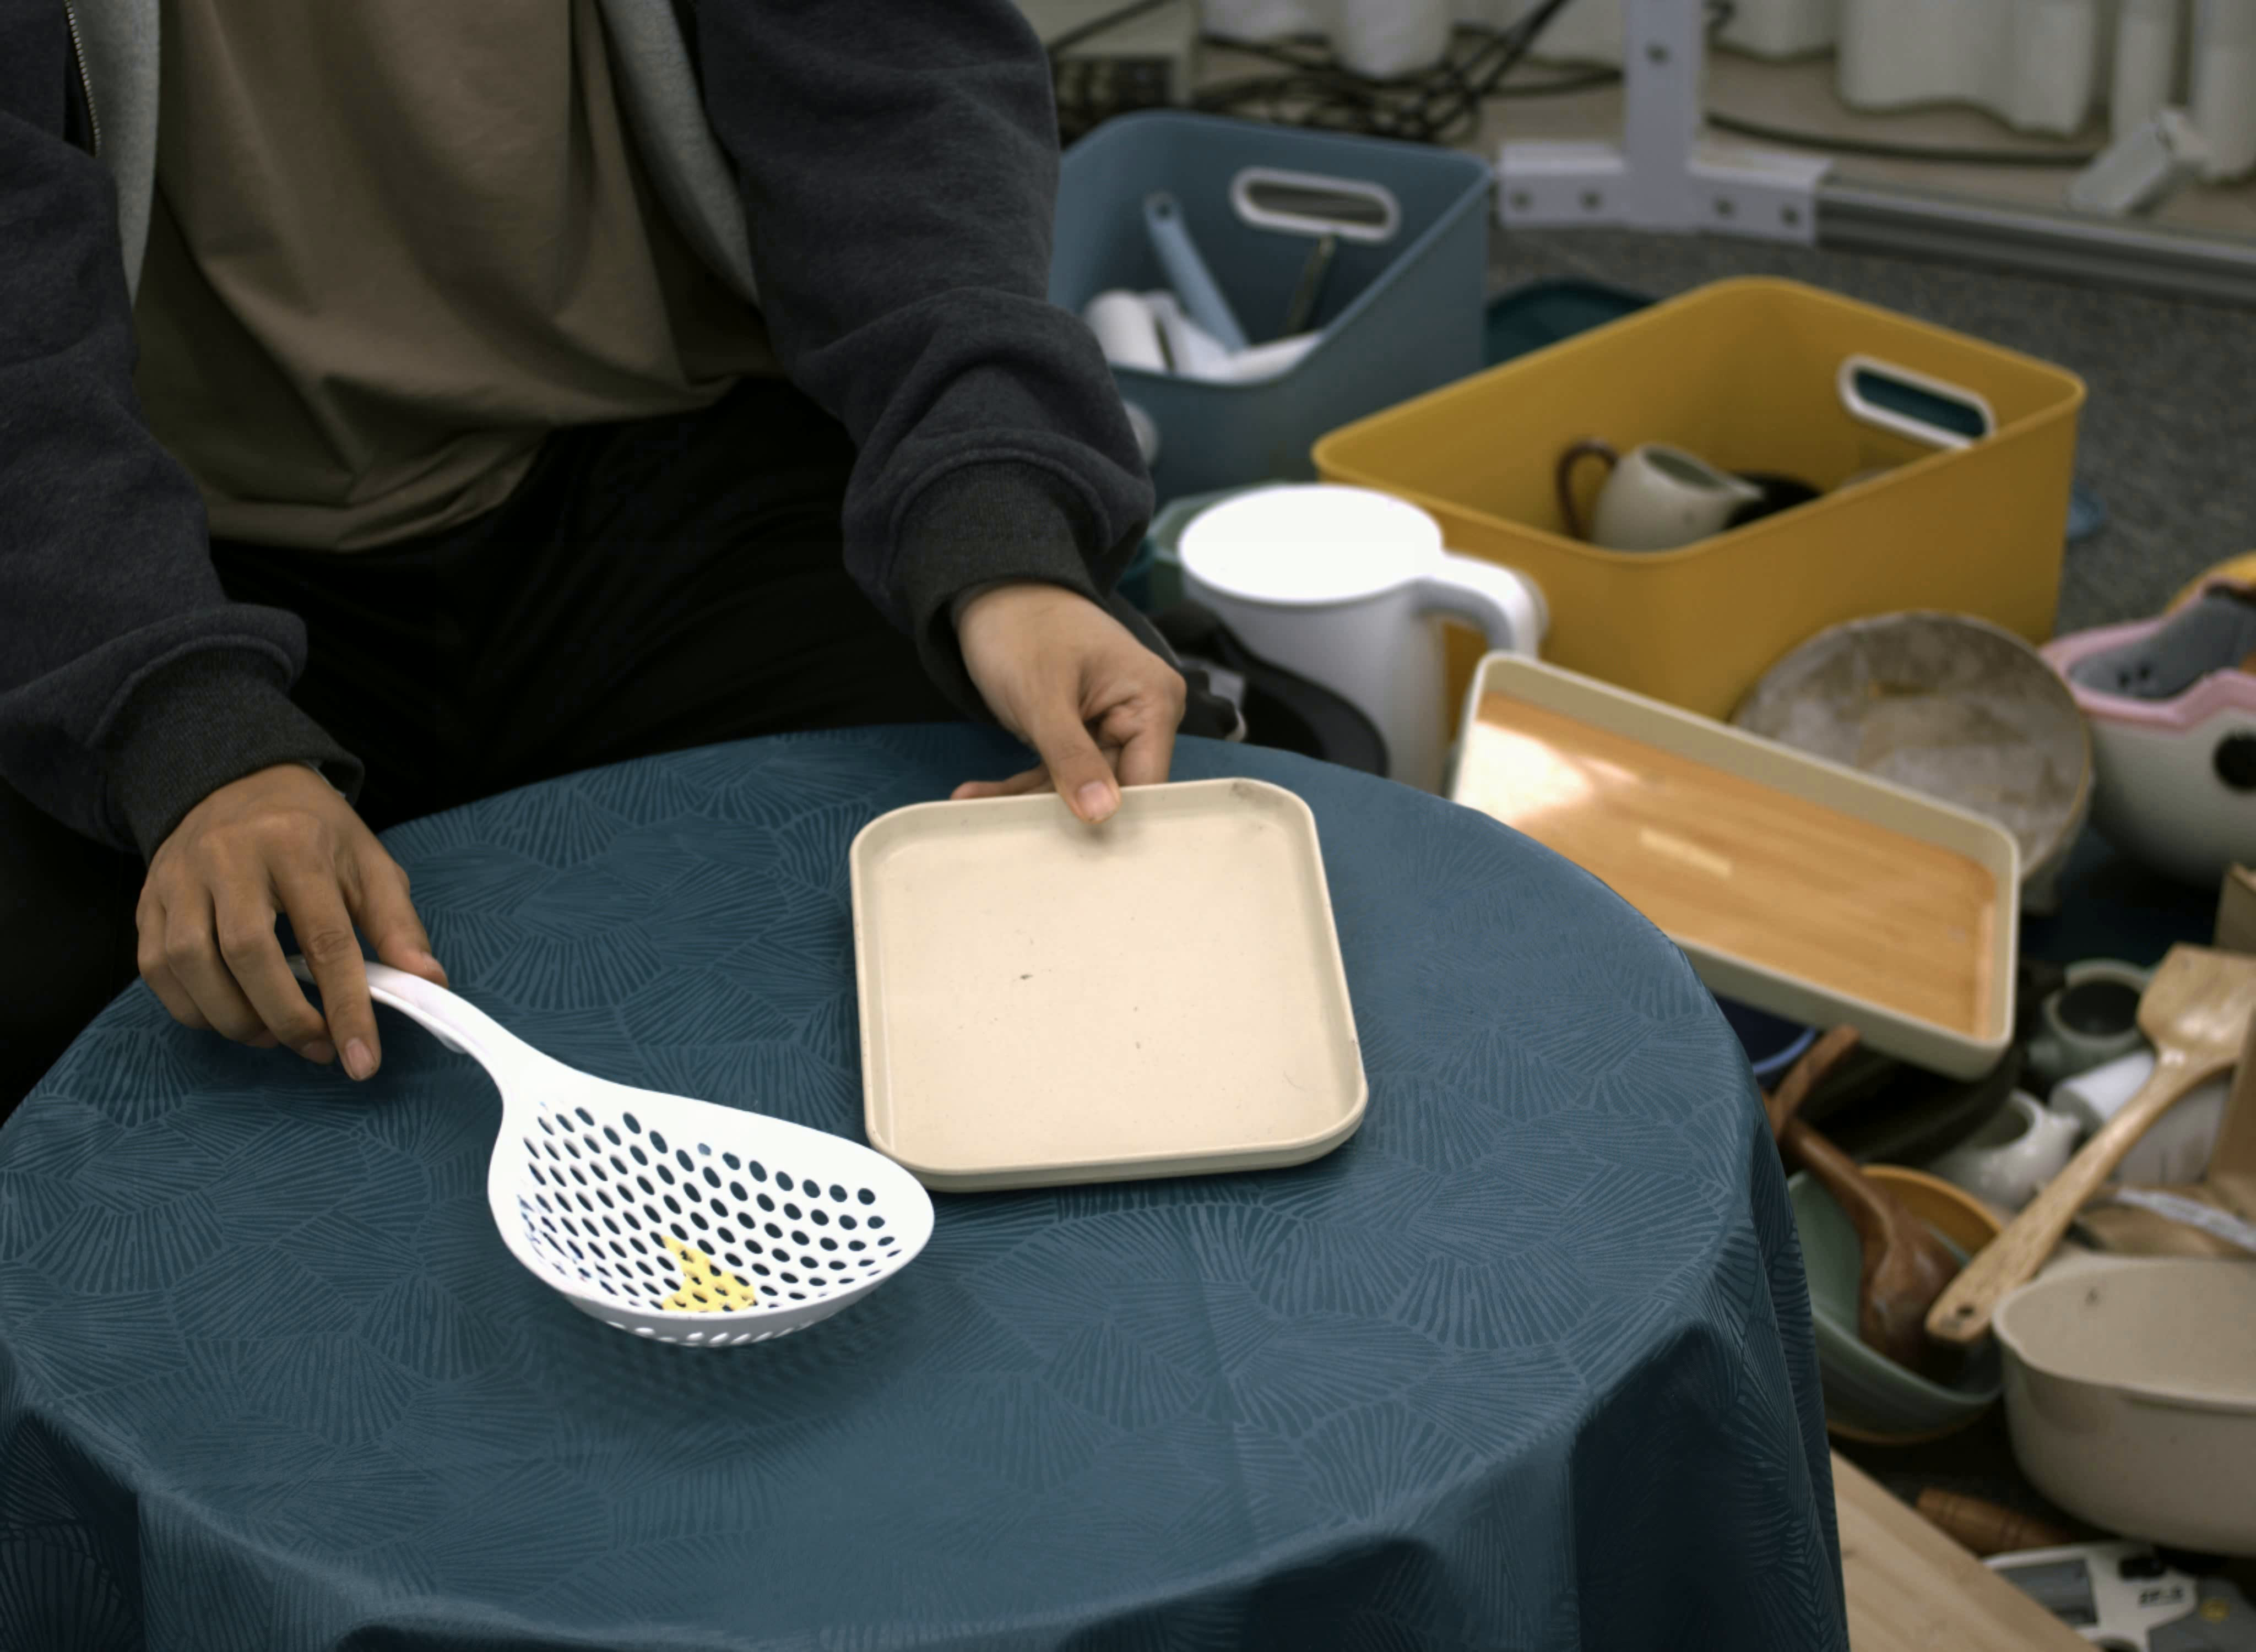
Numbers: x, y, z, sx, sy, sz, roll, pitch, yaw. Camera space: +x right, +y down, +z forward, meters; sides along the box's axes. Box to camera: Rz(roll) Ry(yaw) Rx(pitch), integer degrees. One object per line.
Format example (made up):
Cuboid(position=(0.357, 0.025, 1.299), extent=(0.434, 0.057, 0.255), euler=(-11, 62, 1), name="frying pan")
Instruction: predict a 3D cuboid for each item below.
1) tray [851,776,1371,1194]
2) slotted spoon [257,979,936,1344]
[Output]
Cuboid(position=(-0.009, 0.054, 1.960), extent=(0.170, 0.017, 0.243), euler=(-5, 31, -2), name="tray")
Cuboid(position=(-0.196, 0.098, 1.876), extent=(0.138, 0.050, 0.348), euler=(-18, 32, -32), name="slotted spoon")
